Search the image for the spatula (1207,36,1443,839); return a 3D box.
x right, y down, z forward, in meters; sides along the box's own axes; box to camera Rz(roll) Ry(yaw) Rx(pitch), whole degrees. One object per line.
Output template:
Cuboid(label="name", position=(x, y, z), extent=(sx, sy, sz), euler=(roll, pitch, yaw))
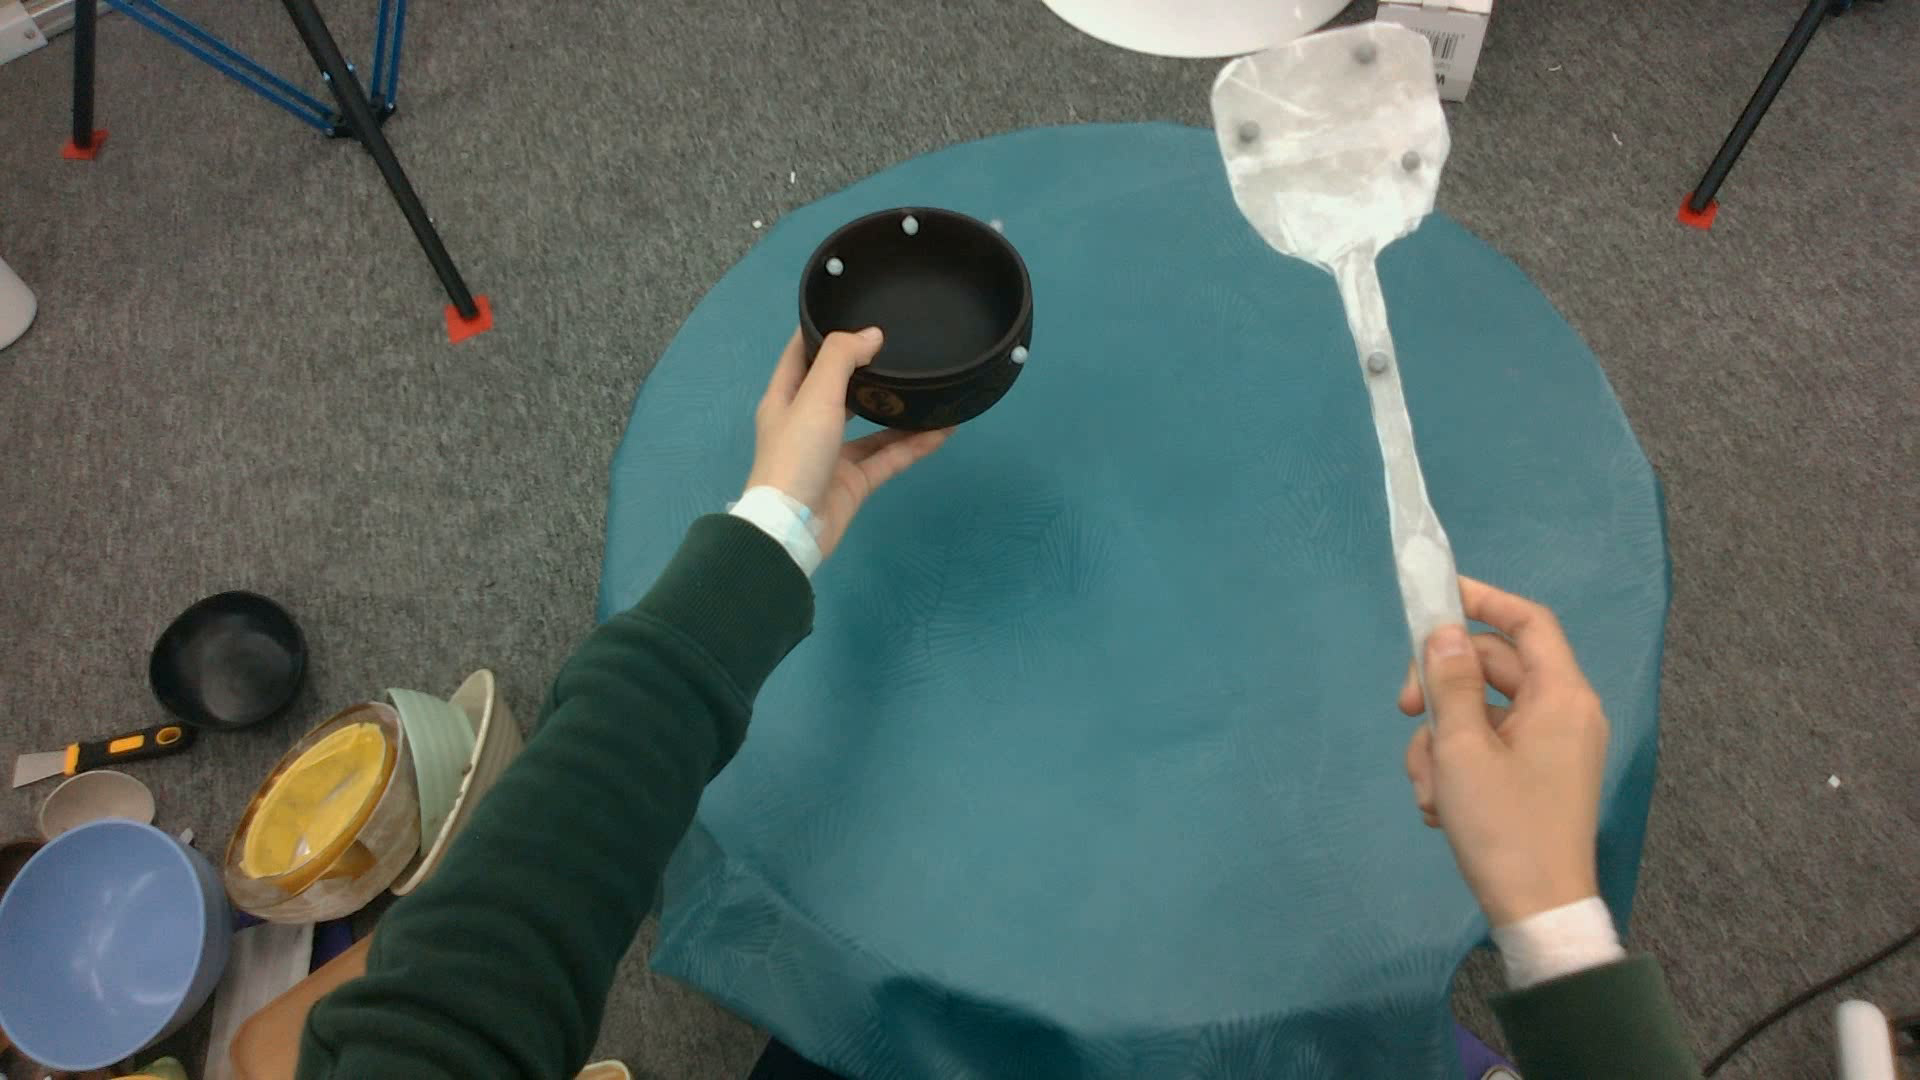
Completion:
Cuboid(label="spatula", position=(0.171, -0.059, 0.590), extent=(0.098, 0.044, 0.366), euler=(-5, 66, 7))

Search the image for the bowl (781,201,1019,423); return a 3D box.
Cuboid(label="bowl", position=(-0.029, -0.108, 0.701), extent=(0.118, 0.069, 0.118), euler=(-1, 55, 2))
